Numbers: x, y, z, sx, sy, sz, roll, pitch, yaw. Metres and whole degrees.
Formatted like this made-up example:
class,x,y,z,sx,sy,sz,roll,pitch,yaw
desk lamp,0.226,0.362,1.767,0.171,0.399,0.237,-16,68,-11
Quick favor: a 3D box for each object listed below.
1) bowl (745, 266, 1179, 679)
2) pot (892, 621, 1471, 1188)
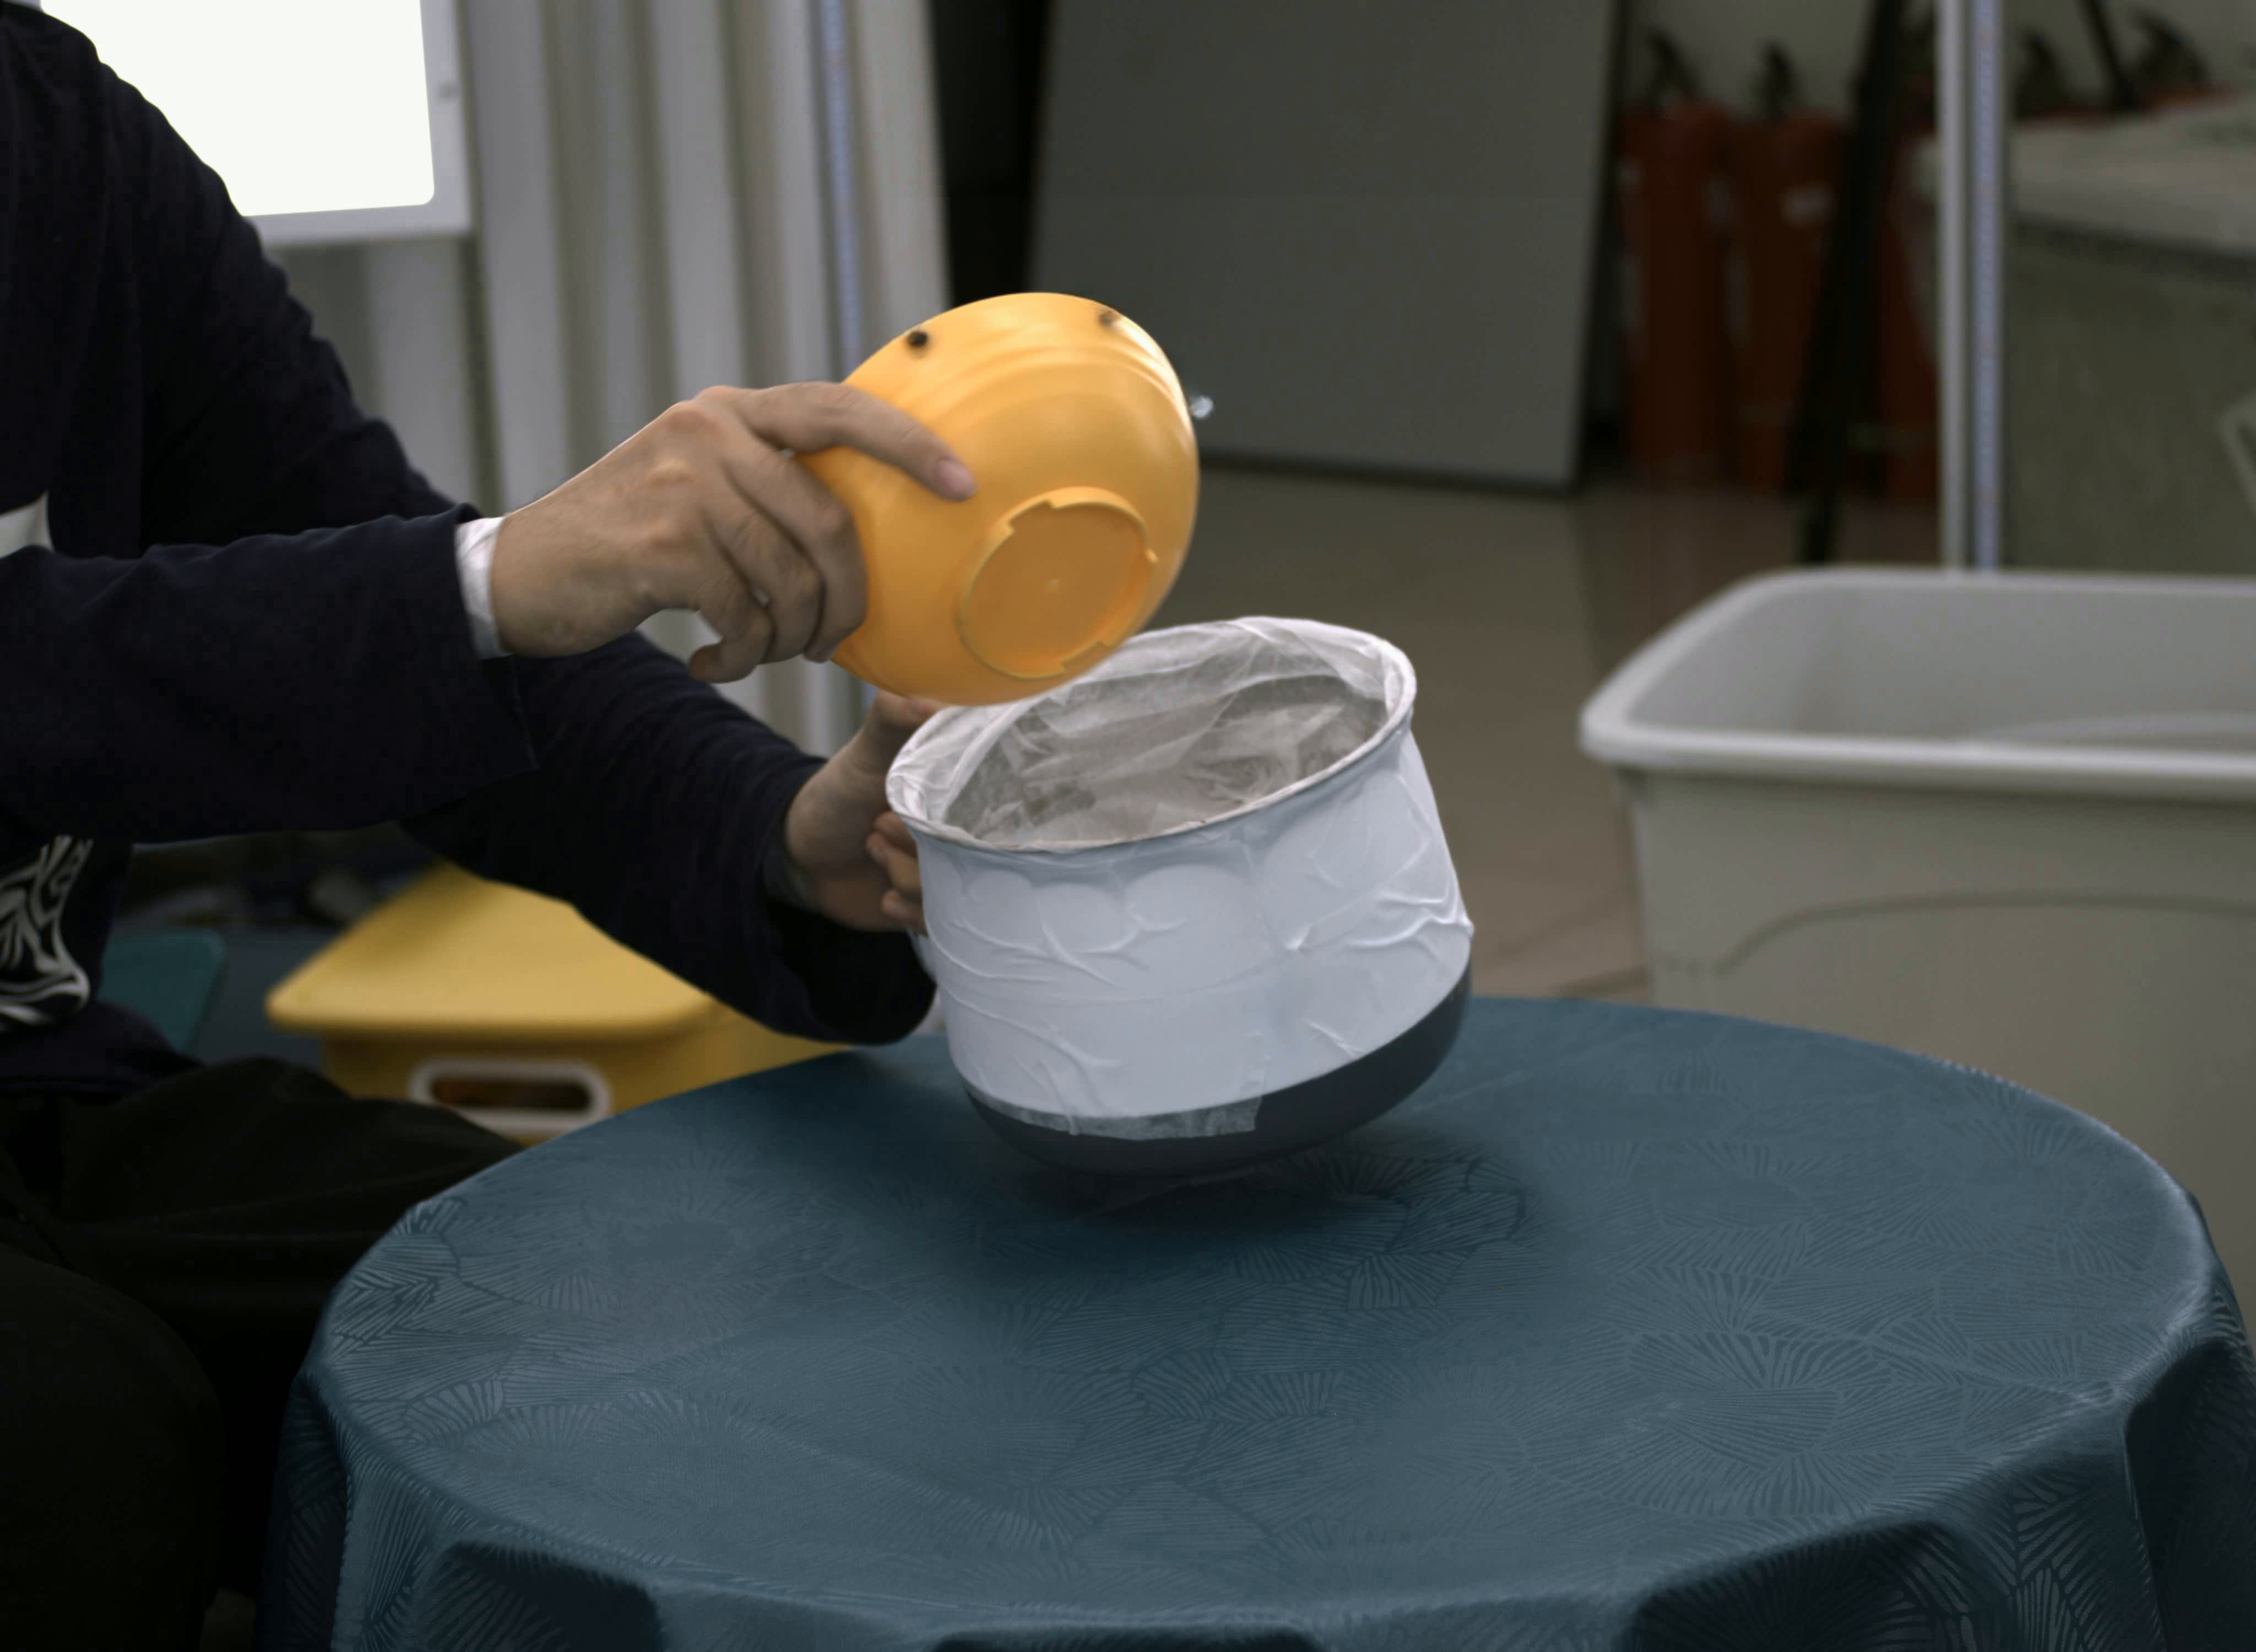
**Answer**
class,x,y,z,sx,sy,sz,roll,pitch,yaw
bowl,-0.041,-0.095,1.656,0.142,0.146,0.061,-9,44,-22
pot,0.002,0.022,1.786,0.175,0.137,0.236,-26,25,-35
